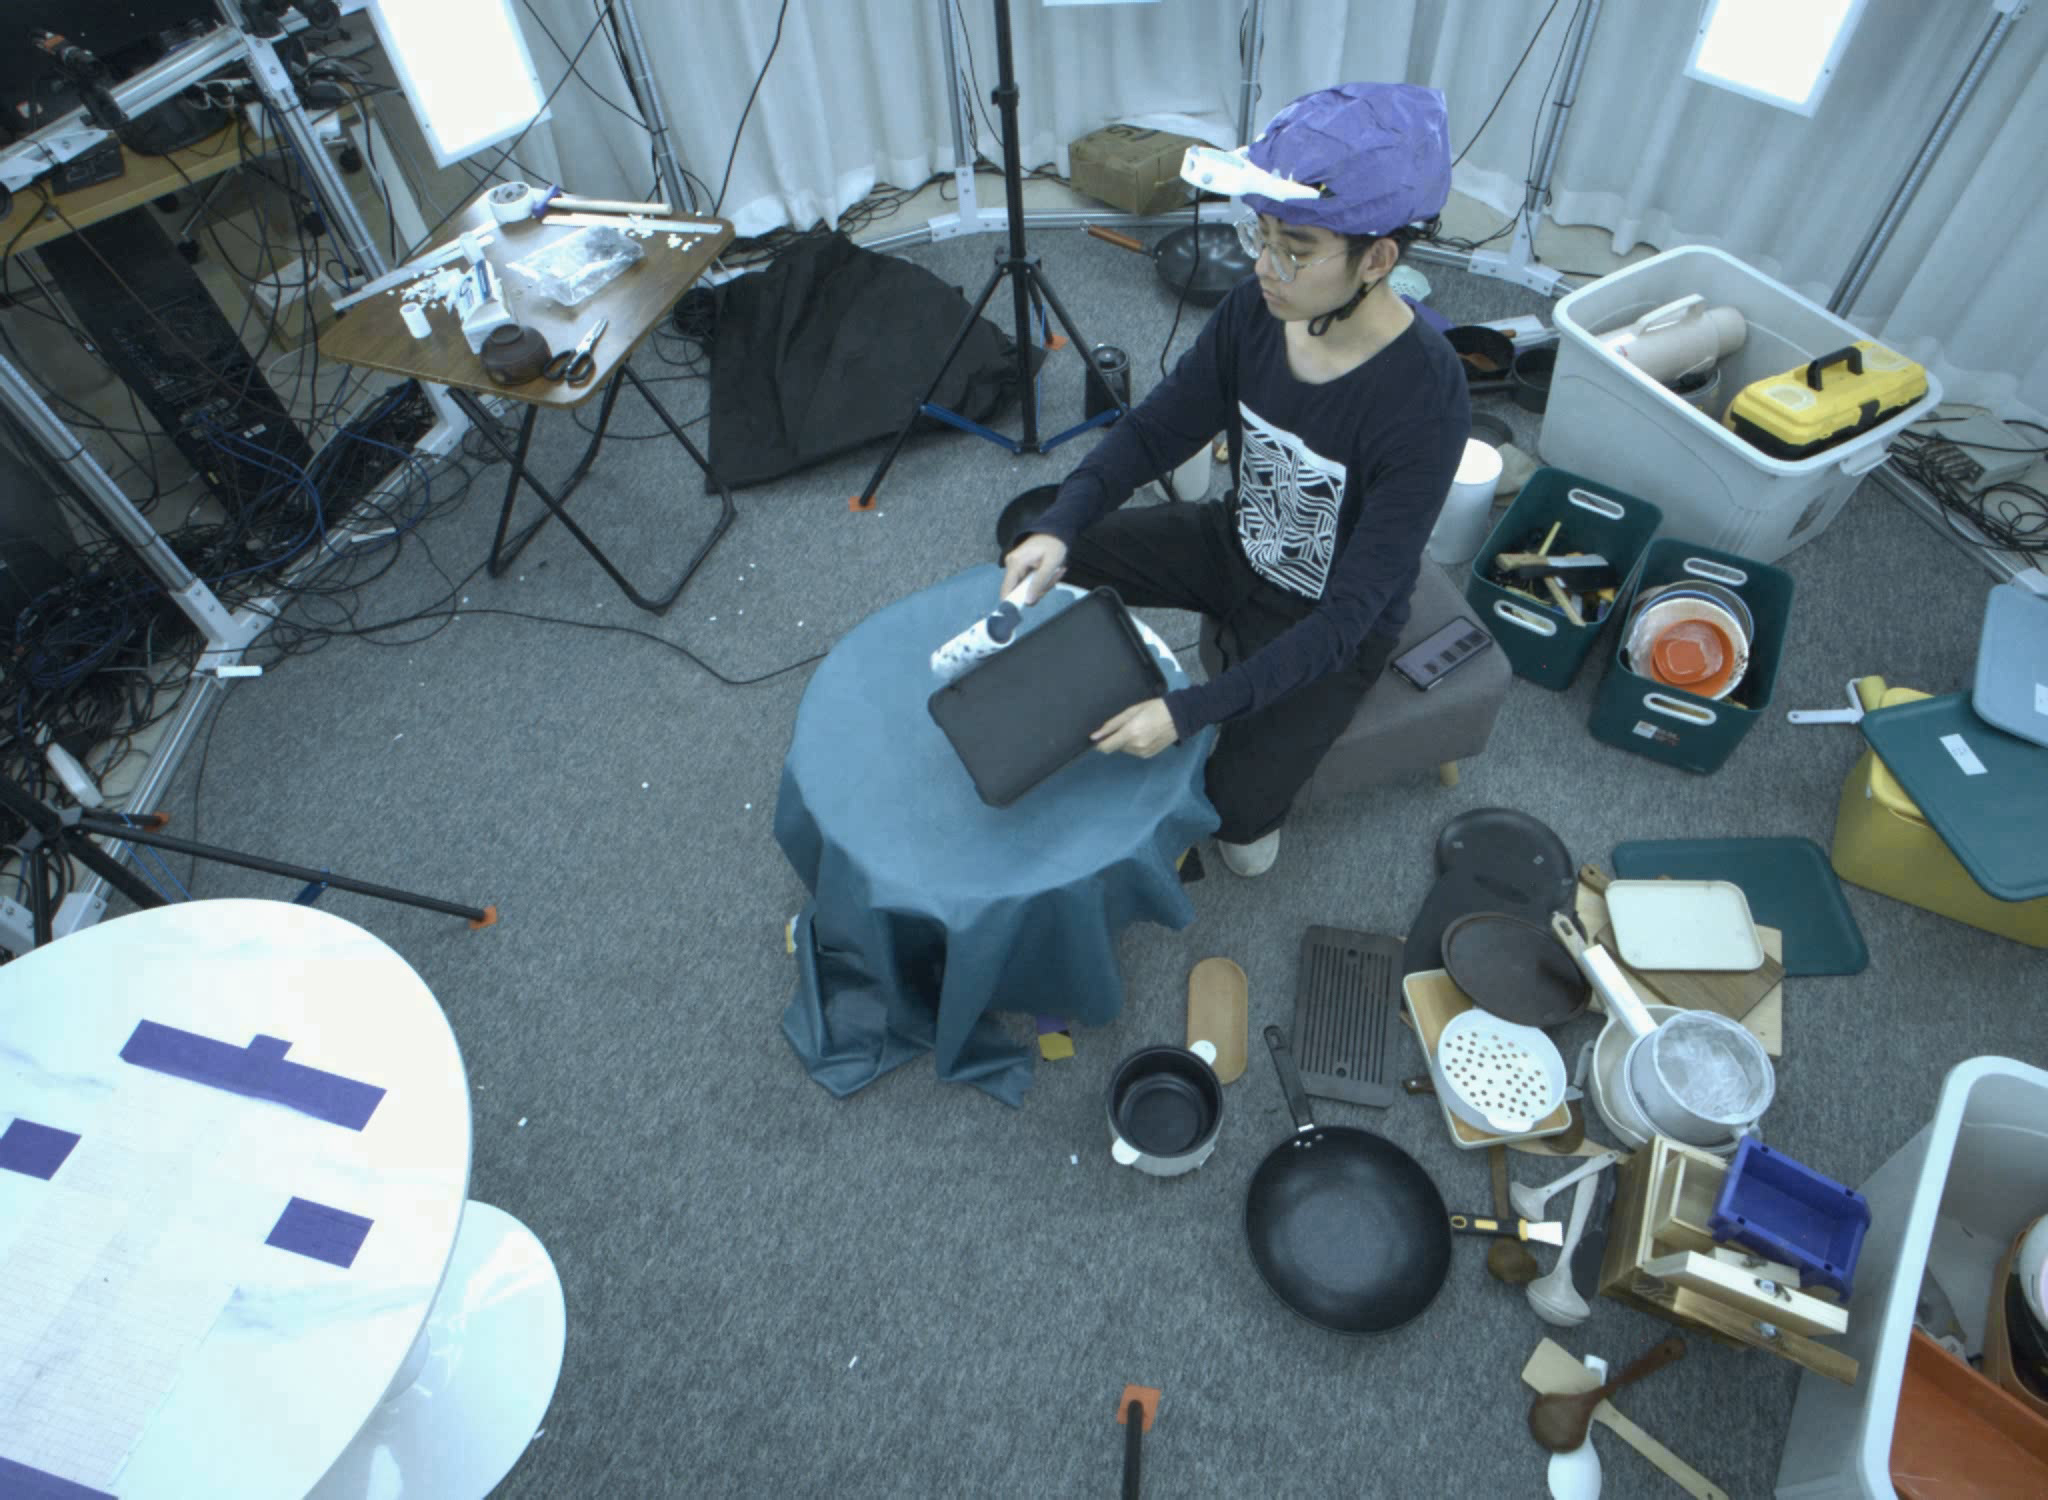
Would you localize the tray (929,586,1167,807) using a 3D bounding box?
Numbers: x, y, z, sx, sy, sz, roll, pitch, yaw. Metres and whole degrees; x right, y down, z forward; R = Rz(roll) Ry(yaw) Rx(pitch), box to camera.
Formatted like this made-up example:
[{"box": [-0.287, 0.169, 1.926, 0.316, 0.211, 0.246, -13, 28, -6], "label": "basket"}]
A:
[{"box": [0.037, -0.076, 1.683, 0.320, 0.036, 0.186, -34, 103, -22], "label": "tray"}]

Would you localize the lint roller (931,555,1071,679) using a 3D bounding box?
[{"box": [-0.017, -0.206, 1.730, 0.051, 0.174, 0.248, 47, 58, -10], "label": "lint roller"}]
